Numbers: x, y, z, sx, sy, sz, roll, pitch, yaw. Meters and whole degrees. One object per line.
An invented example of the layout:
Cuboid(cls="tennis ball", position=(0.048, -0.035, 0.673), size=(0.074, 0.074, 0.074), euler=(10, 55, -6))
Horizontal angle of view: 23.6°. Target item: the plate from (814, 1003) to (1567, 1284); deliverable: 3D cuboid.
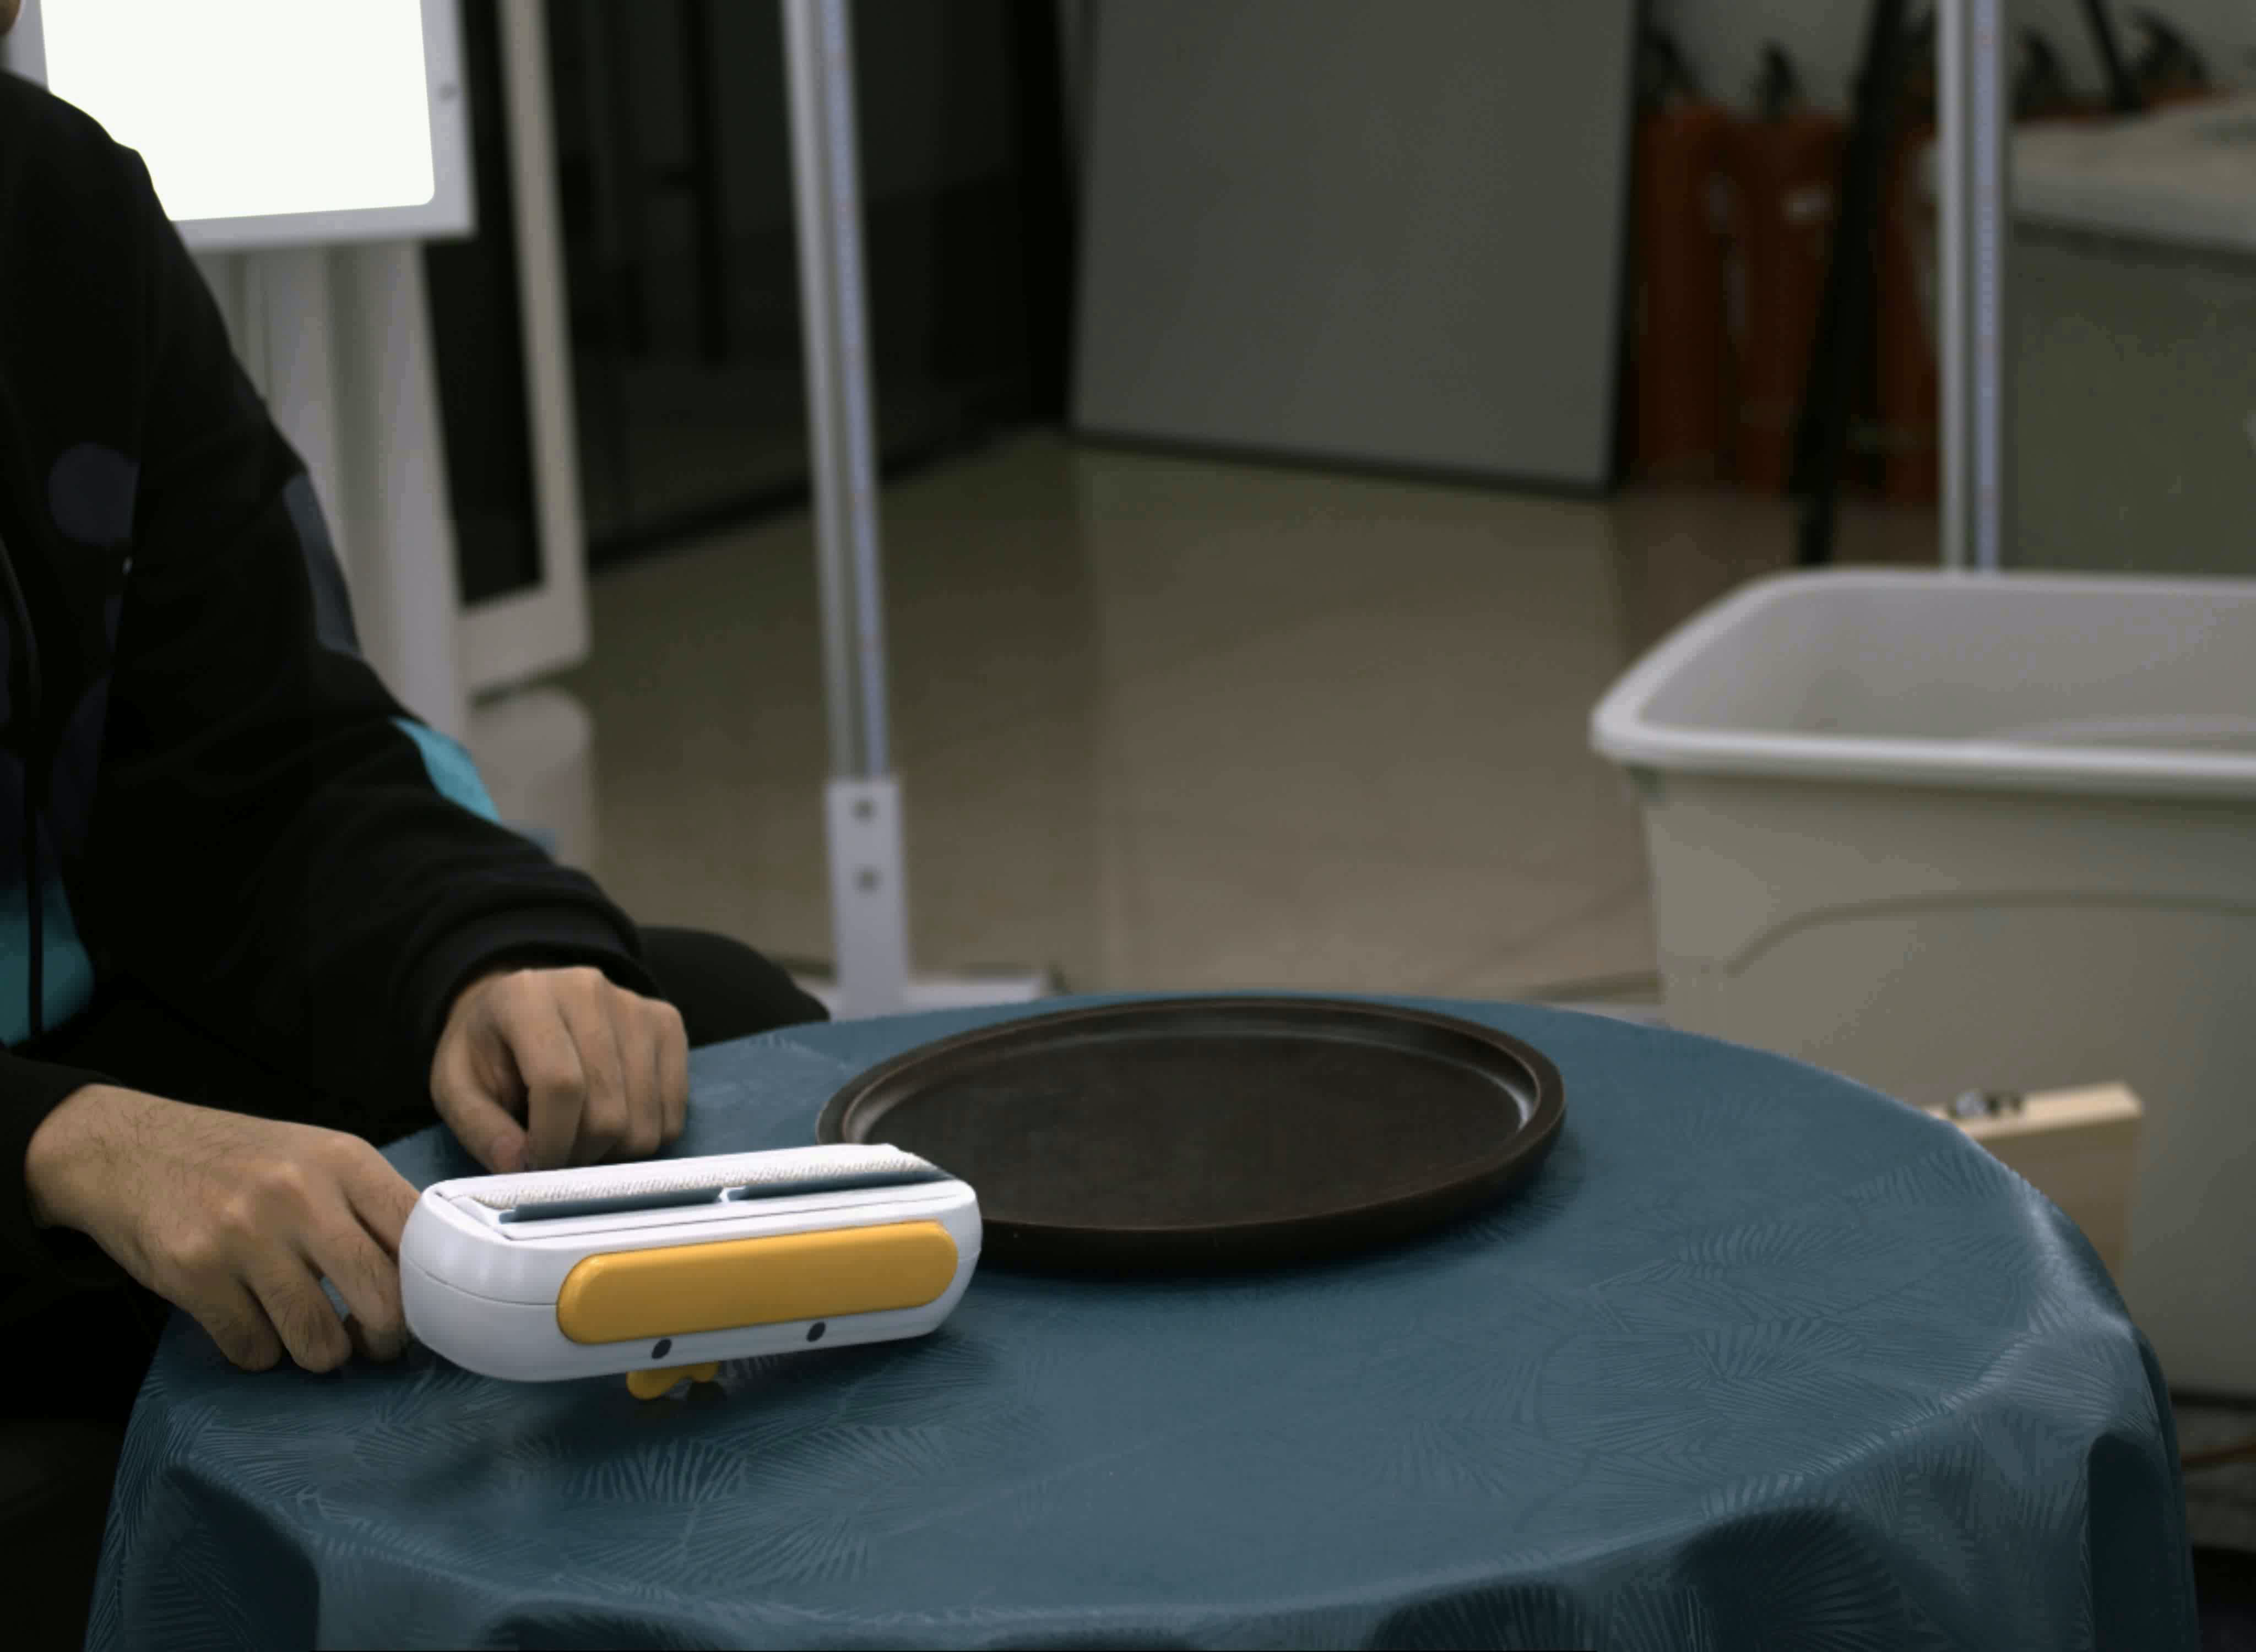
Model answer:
Cuboid(cls="plate", position=(0.021, 0.103, 1.790), size=(0.251, 0.029, 0.255), euler=(-5, 13, 0))

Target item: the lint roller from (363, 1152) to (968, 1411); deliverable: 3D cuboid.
Cuboid(cls="lint roller", position=(-0.168, 0.129, 1.649), size=(0.188, 0.075, 0.194), euler=(-7, 11, -35))
